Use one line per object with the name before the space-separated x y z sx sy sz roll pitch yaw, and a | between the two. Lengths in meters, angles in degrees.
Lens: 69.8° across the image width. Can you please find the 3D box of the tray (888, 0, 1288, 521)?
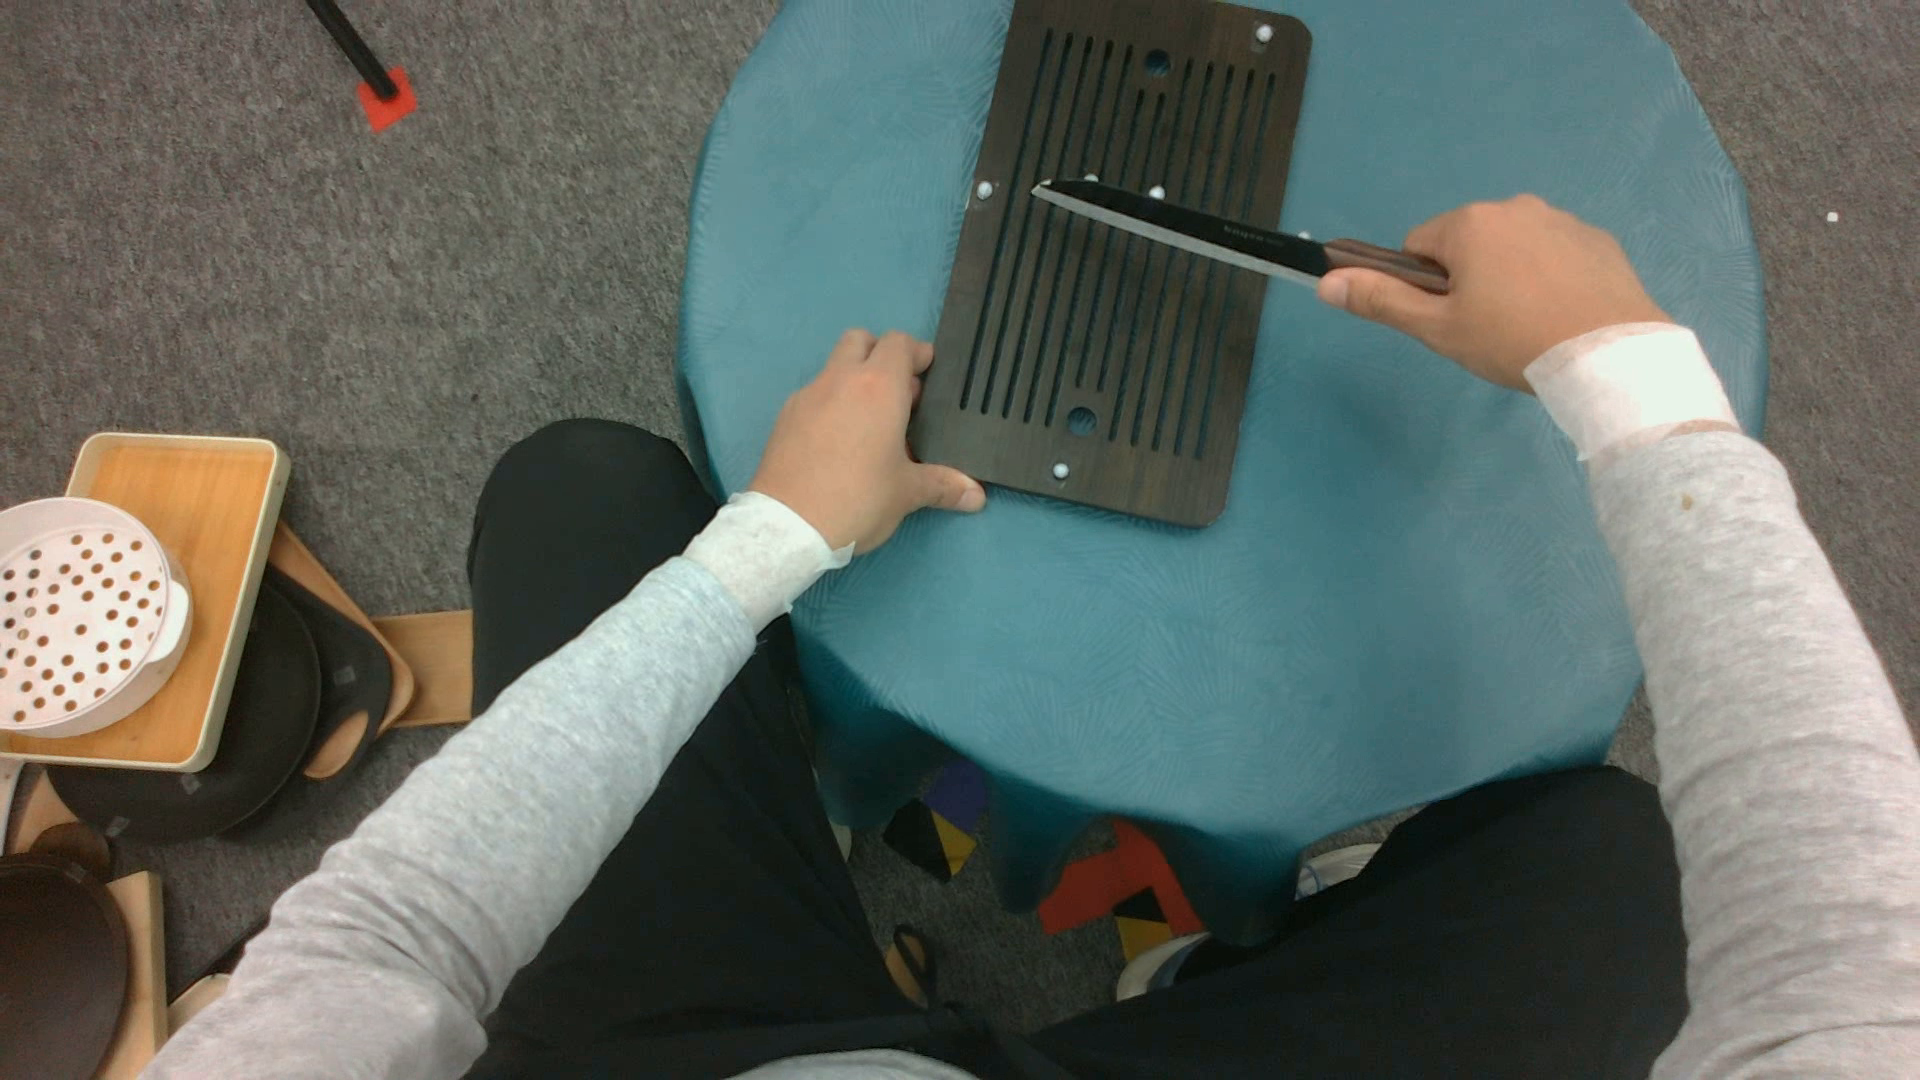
tray | 0.074 -0.169 0.760 0.170 0.018 0.306 13 77 1

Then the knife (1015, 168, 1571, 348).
knife | 0.154 -0.145 0.688 0.289 0.050 0.020 20 75 22
